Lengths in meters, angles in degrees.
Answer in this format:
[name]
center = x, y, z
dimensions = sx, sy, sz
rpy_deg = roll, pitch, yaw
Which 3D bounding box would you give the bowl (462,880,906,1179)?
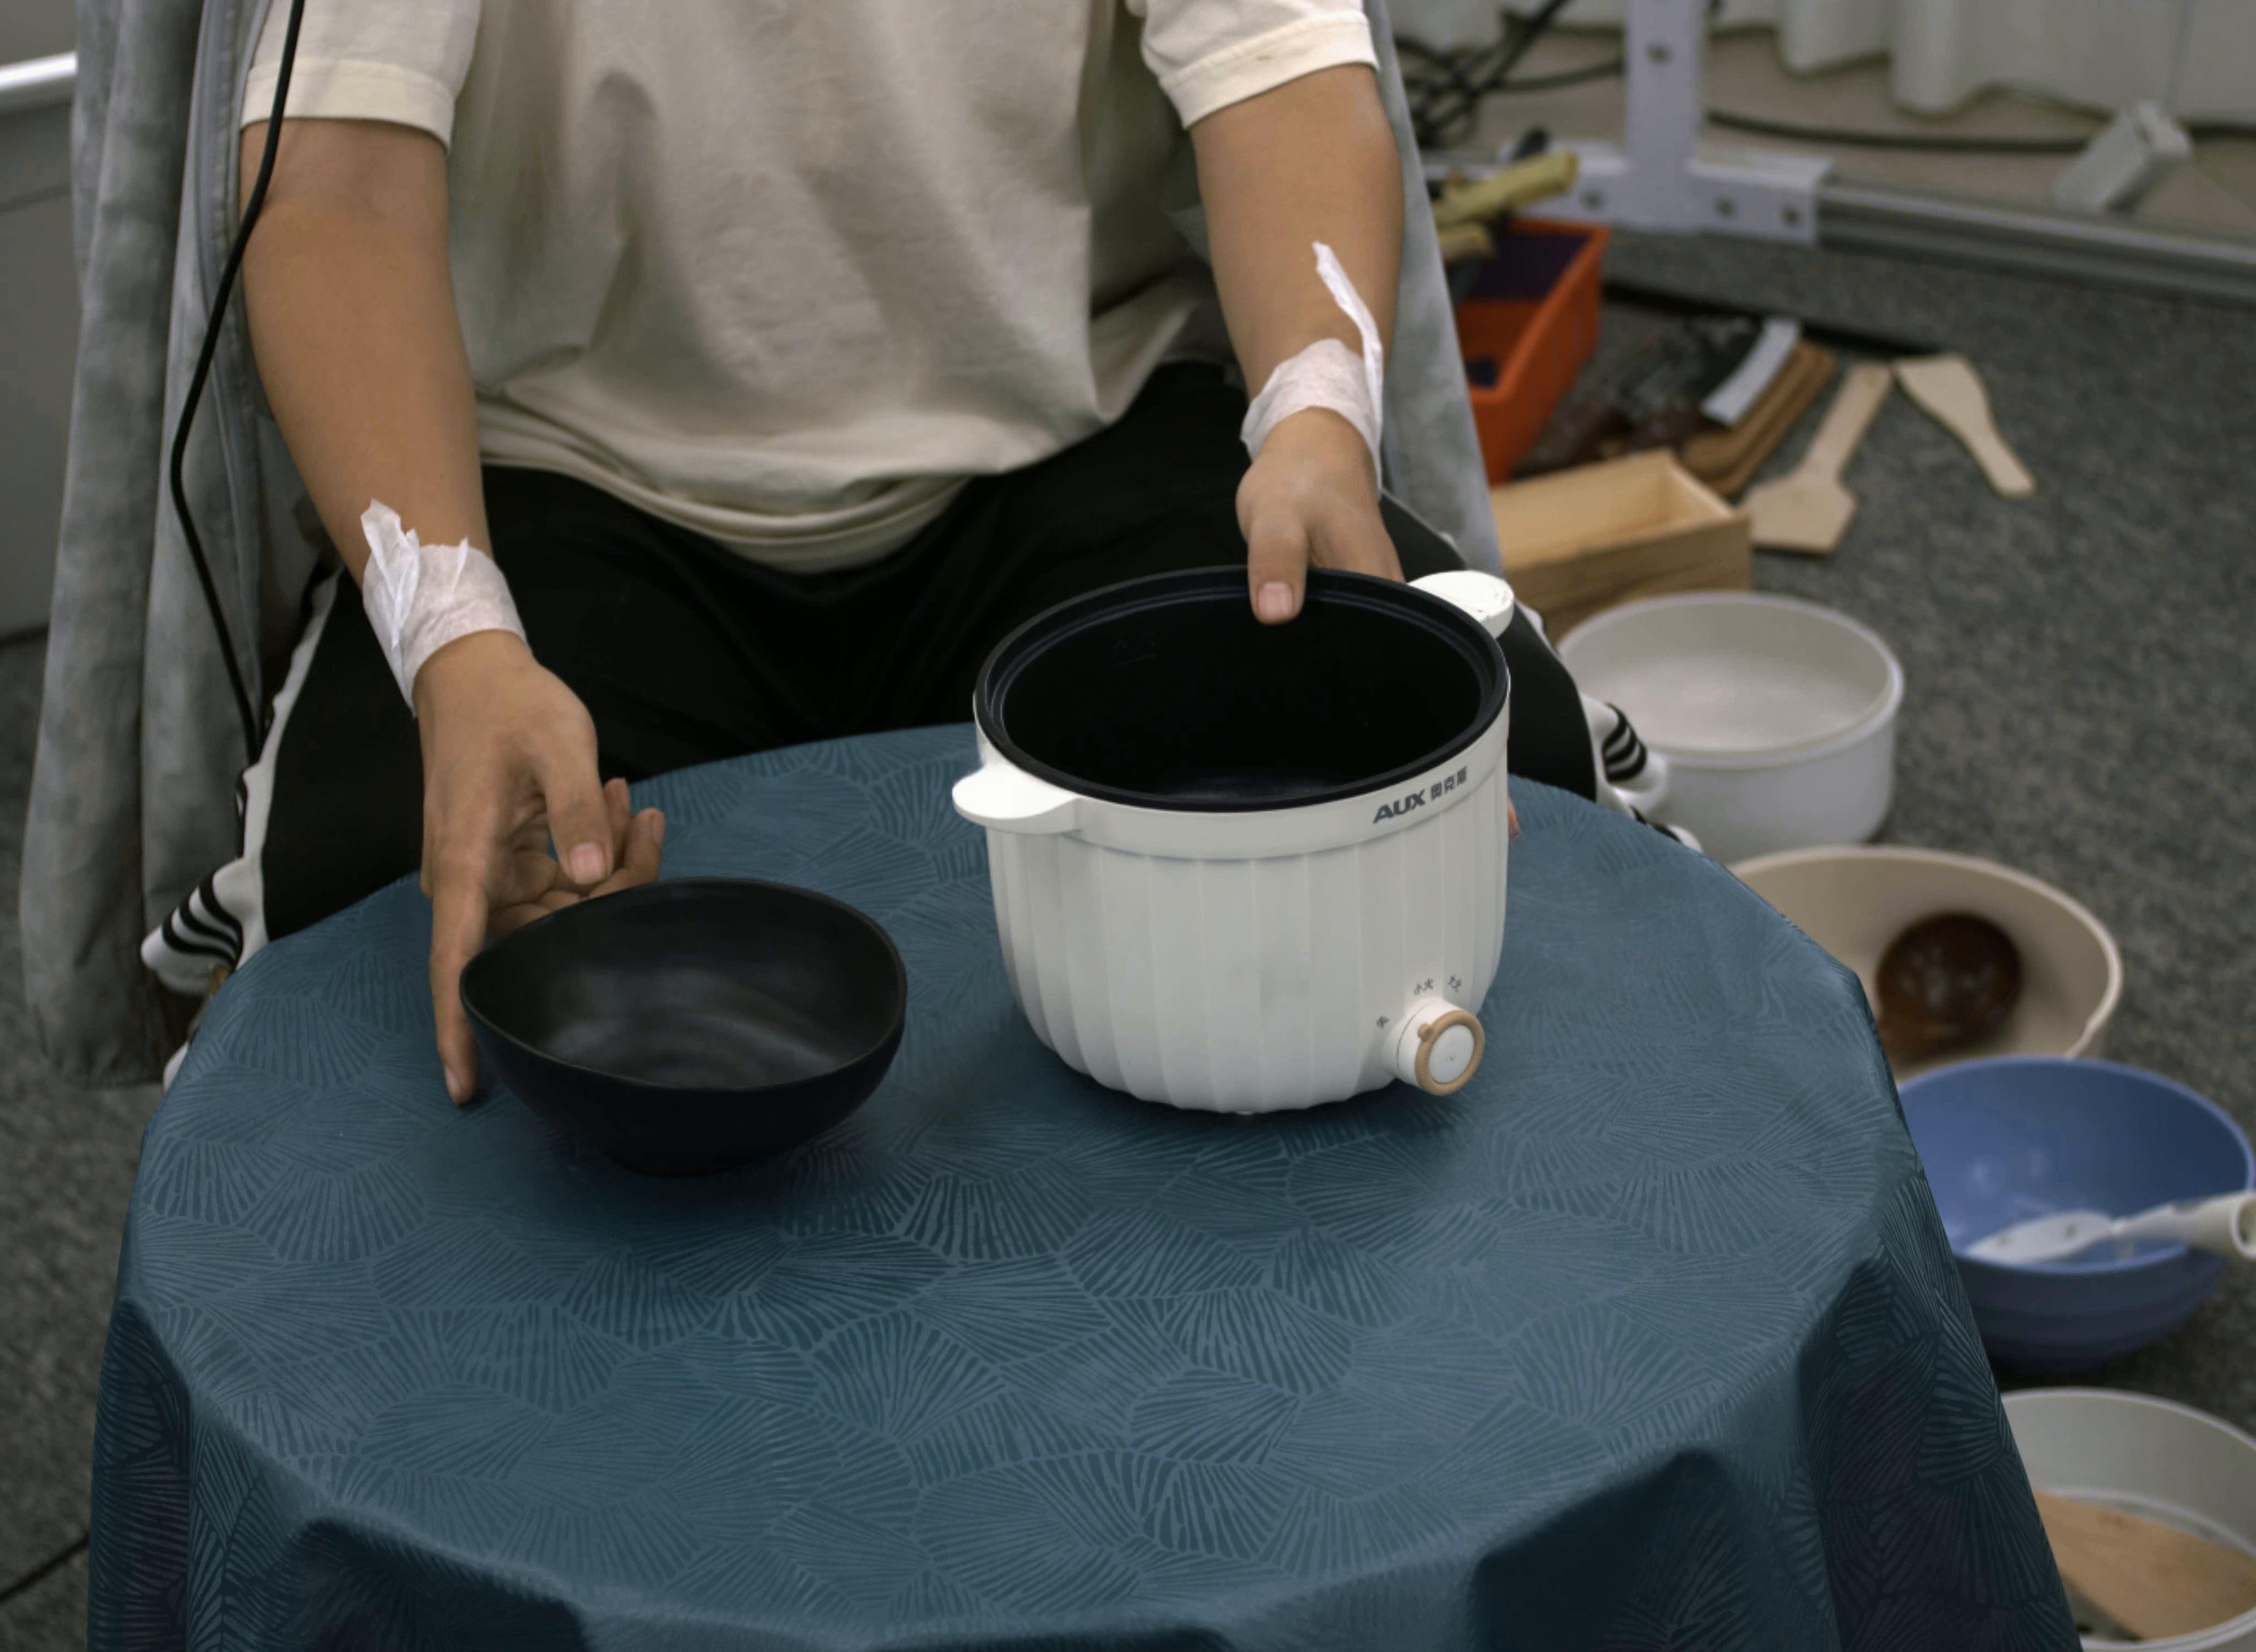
[bowl]
center = -0.150, 0.077, 1.893
dimensions = 0.170, 0.066, 0.139
rpy_deg = 19, 33, 38

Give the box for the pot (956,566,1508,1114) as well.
[pot]
center = 0.046, 0.010, 1.924
dimensions = 0.243, 0.141, 0.190
rpy_deg = -25, 30, -35
